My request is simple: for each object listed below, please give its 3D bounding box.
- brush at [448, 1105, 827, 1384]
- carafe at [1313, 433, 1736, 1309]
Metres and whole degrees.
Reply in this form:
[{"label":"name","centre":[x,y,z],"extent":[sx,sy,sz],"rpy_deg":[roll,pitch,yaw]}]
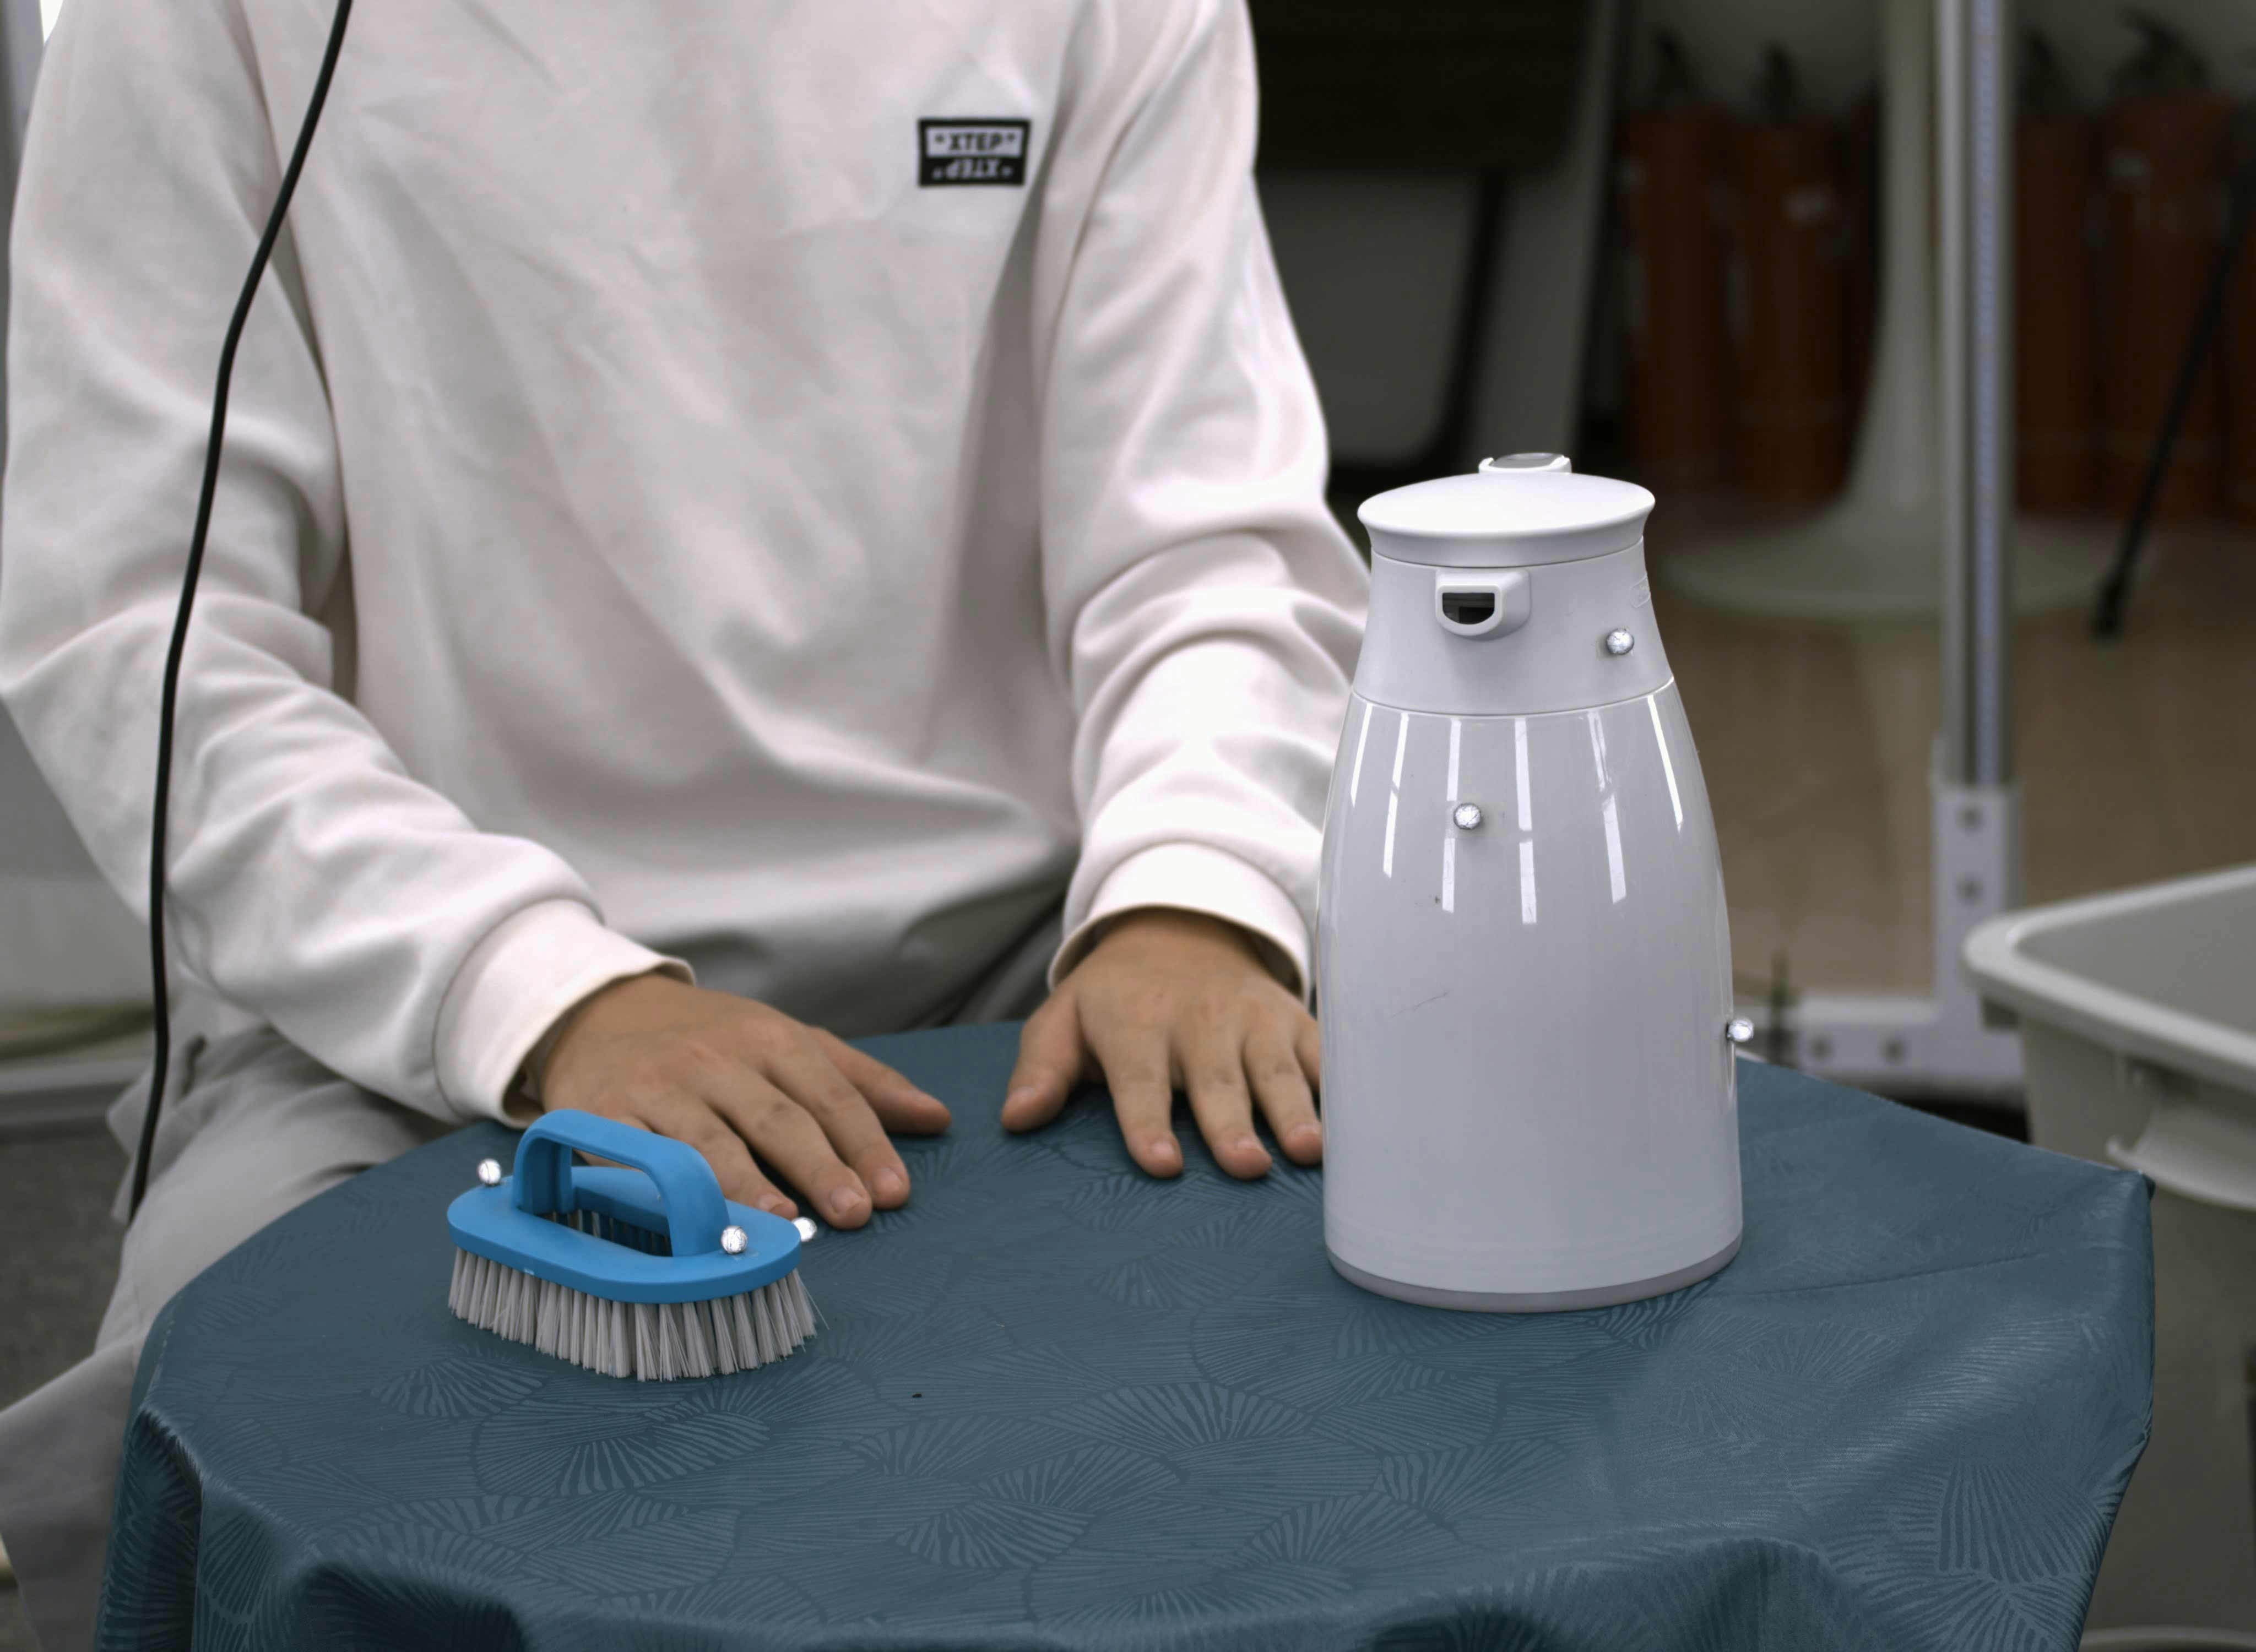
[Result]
[{"label":"brush","centre":[-0.156,0.122,1.674],"extent":[0.082,0.064,0.143],"rpy_deg":[-19,18,-35]},{"label":"carafe","centre":[0.123,0.006,1.682],"extent":[0.132,0.251,0.166],"rpy_deg":[0,12,14]}]
